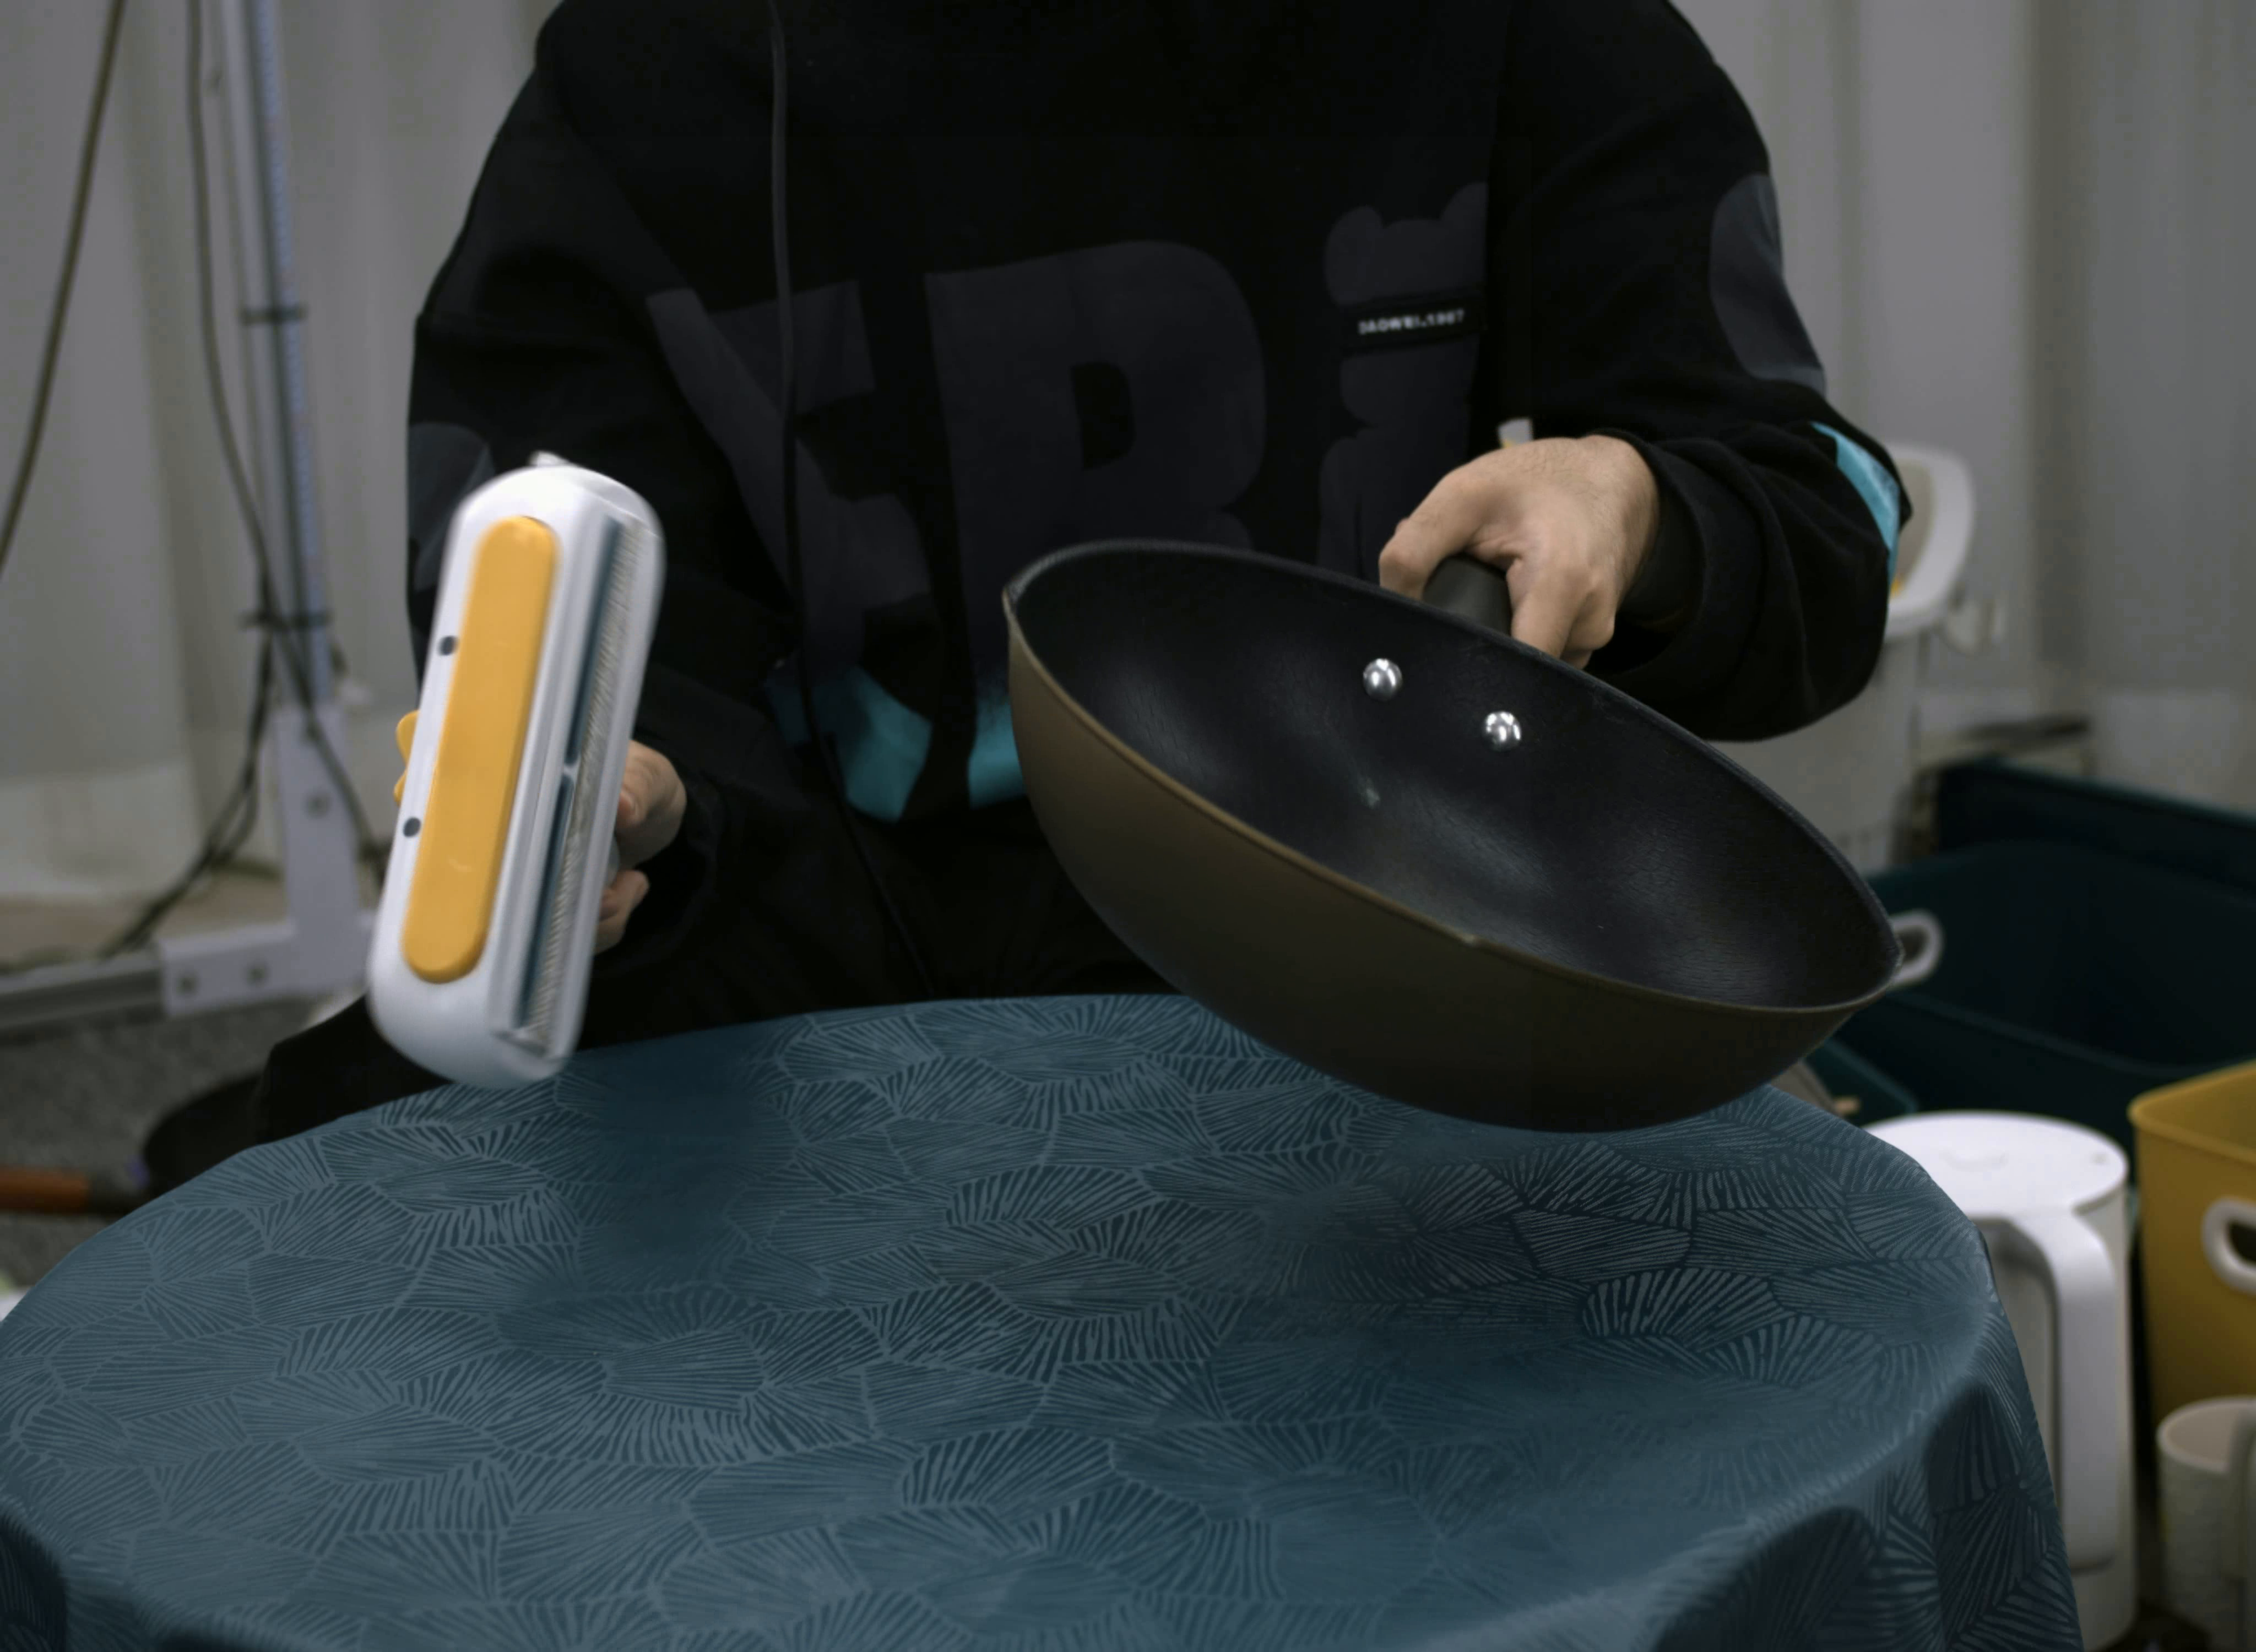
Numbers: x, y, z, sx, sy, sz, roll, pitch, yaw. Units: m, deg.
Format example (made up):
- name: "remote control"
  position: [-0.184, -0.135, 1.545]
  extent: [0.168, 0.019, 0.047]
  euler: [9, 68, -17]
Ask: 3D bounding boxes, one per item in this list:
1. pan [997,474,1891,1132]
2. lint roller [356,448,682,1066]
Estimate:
- name: "pan"
  position: [0.089, -0.017, 1.709]
  extent: [0.287, 0.086, 0.467]
  euler: [23, 19, -2]
- name: "lint roller"
  position: [-0.180, -0.004, 1.730]
  extent: [0.074, 0.195, 0.190]
  euler: [5, -18, 14]
